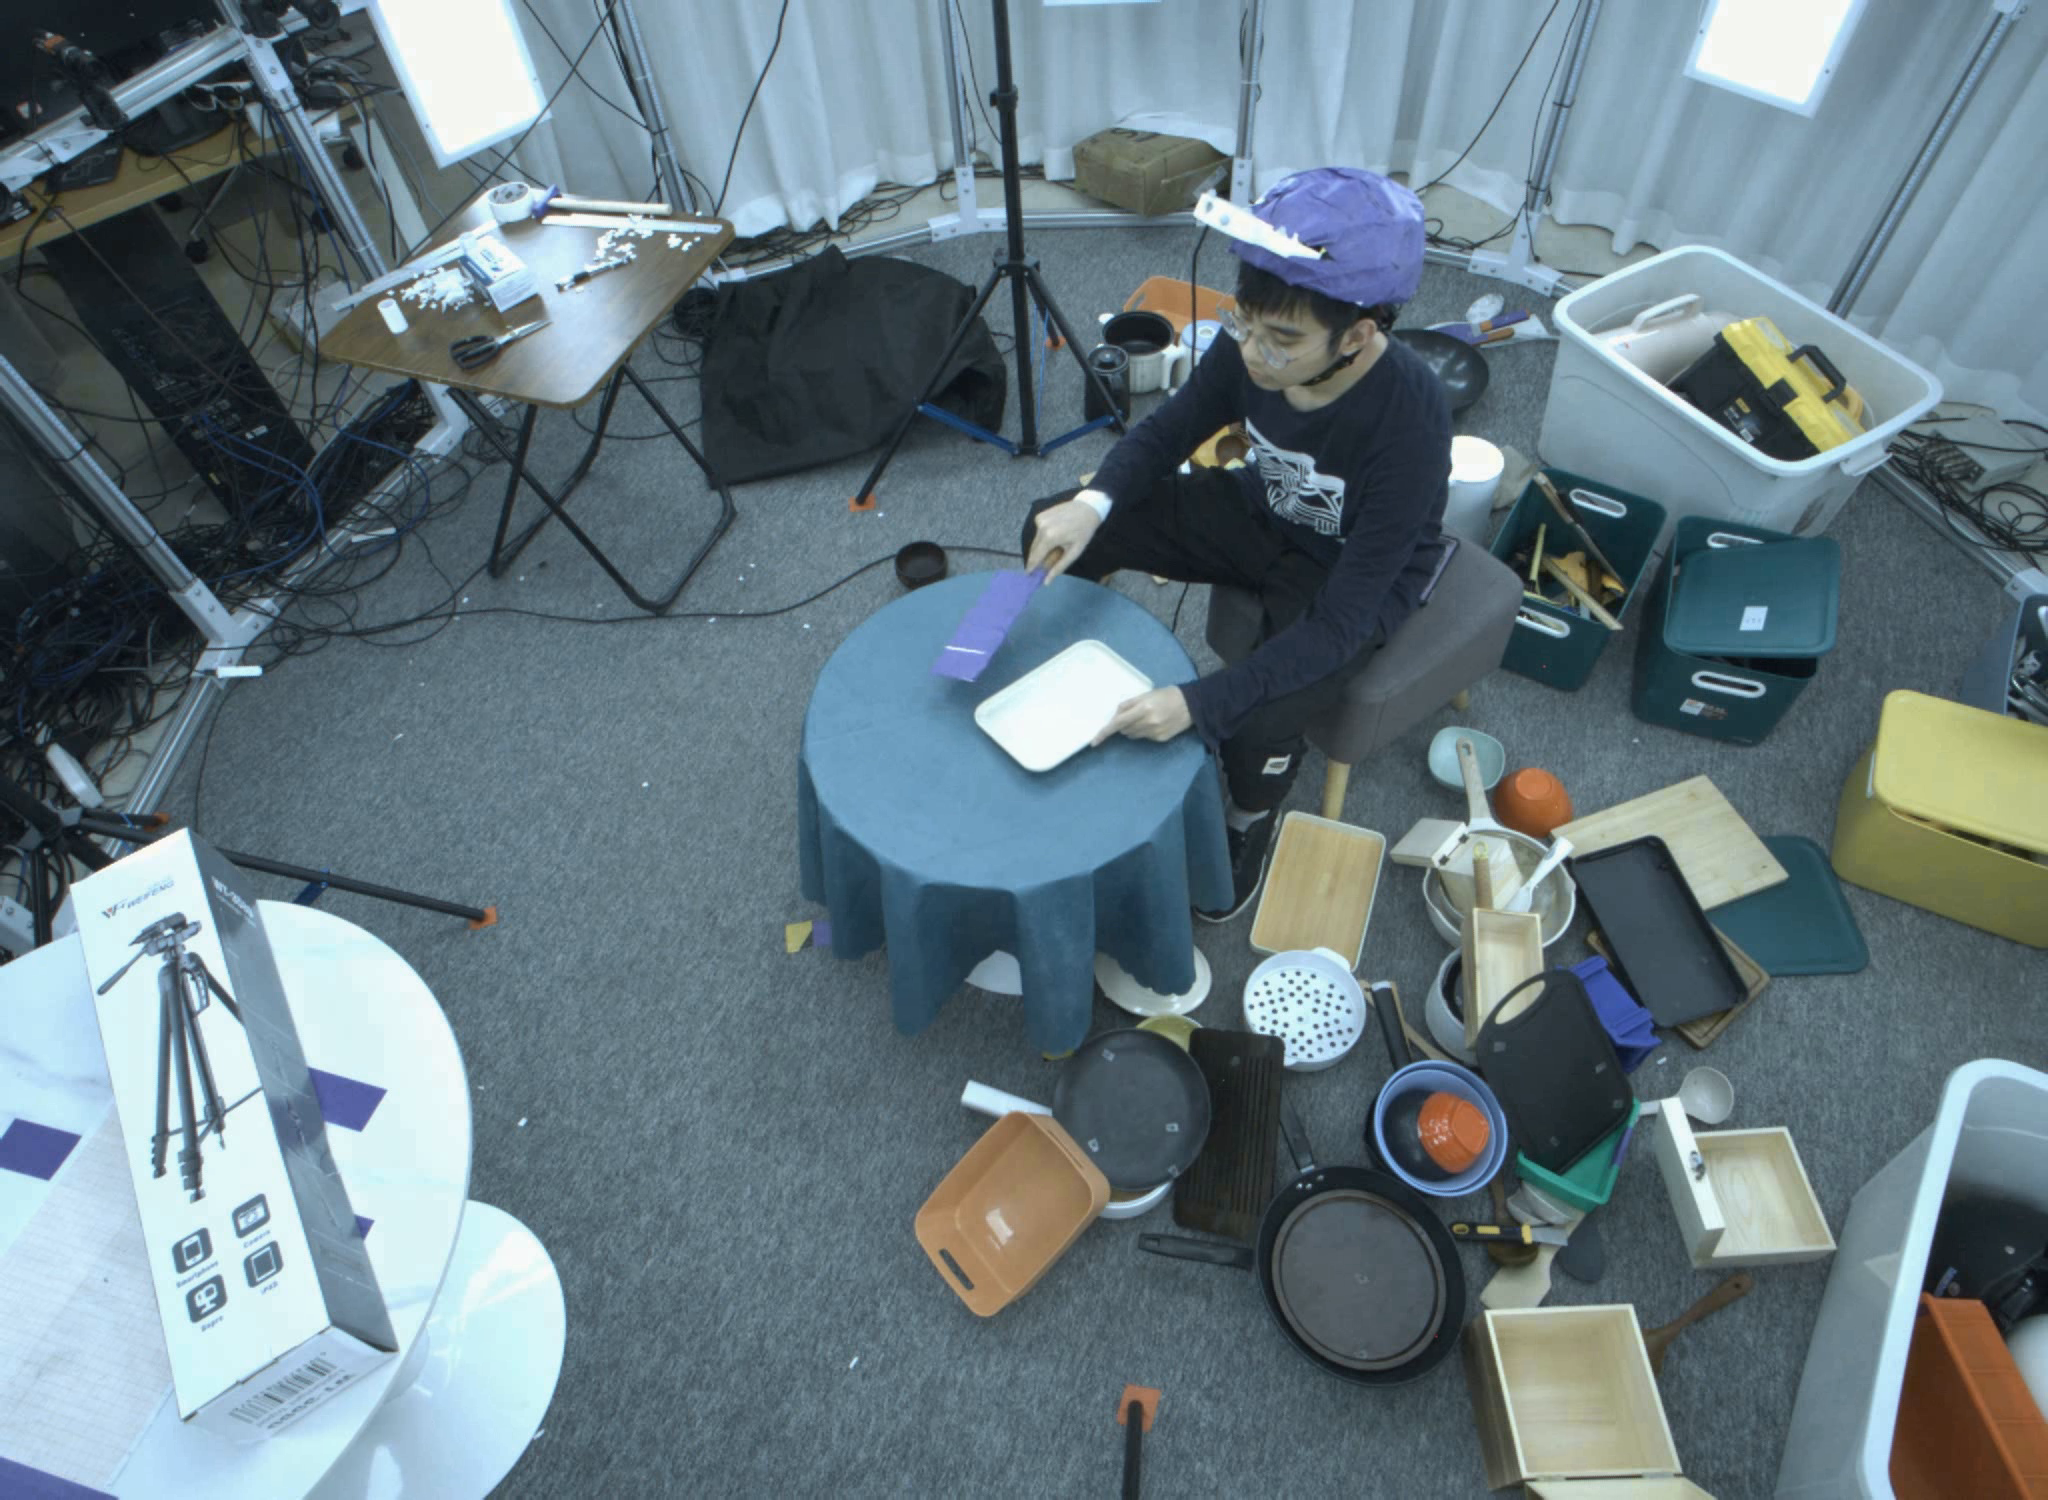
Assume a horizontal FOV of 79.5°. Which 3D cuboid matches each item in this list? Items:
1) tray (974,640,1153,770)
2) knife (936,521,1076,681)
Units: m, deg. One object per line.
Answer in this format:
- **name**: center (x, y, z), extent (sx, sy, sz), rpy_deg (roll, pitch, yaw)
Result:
- **tray**: center (0.059, -0.068, 1.822), extent (0.241, 0.018, 0.167), rpy_deg (-33, 53, -20)
- **knife**: center (-0.031, -0.231, 1.849), extent (0.101, 0.033, 0.316), rpy_deg (14, 60, 33)
